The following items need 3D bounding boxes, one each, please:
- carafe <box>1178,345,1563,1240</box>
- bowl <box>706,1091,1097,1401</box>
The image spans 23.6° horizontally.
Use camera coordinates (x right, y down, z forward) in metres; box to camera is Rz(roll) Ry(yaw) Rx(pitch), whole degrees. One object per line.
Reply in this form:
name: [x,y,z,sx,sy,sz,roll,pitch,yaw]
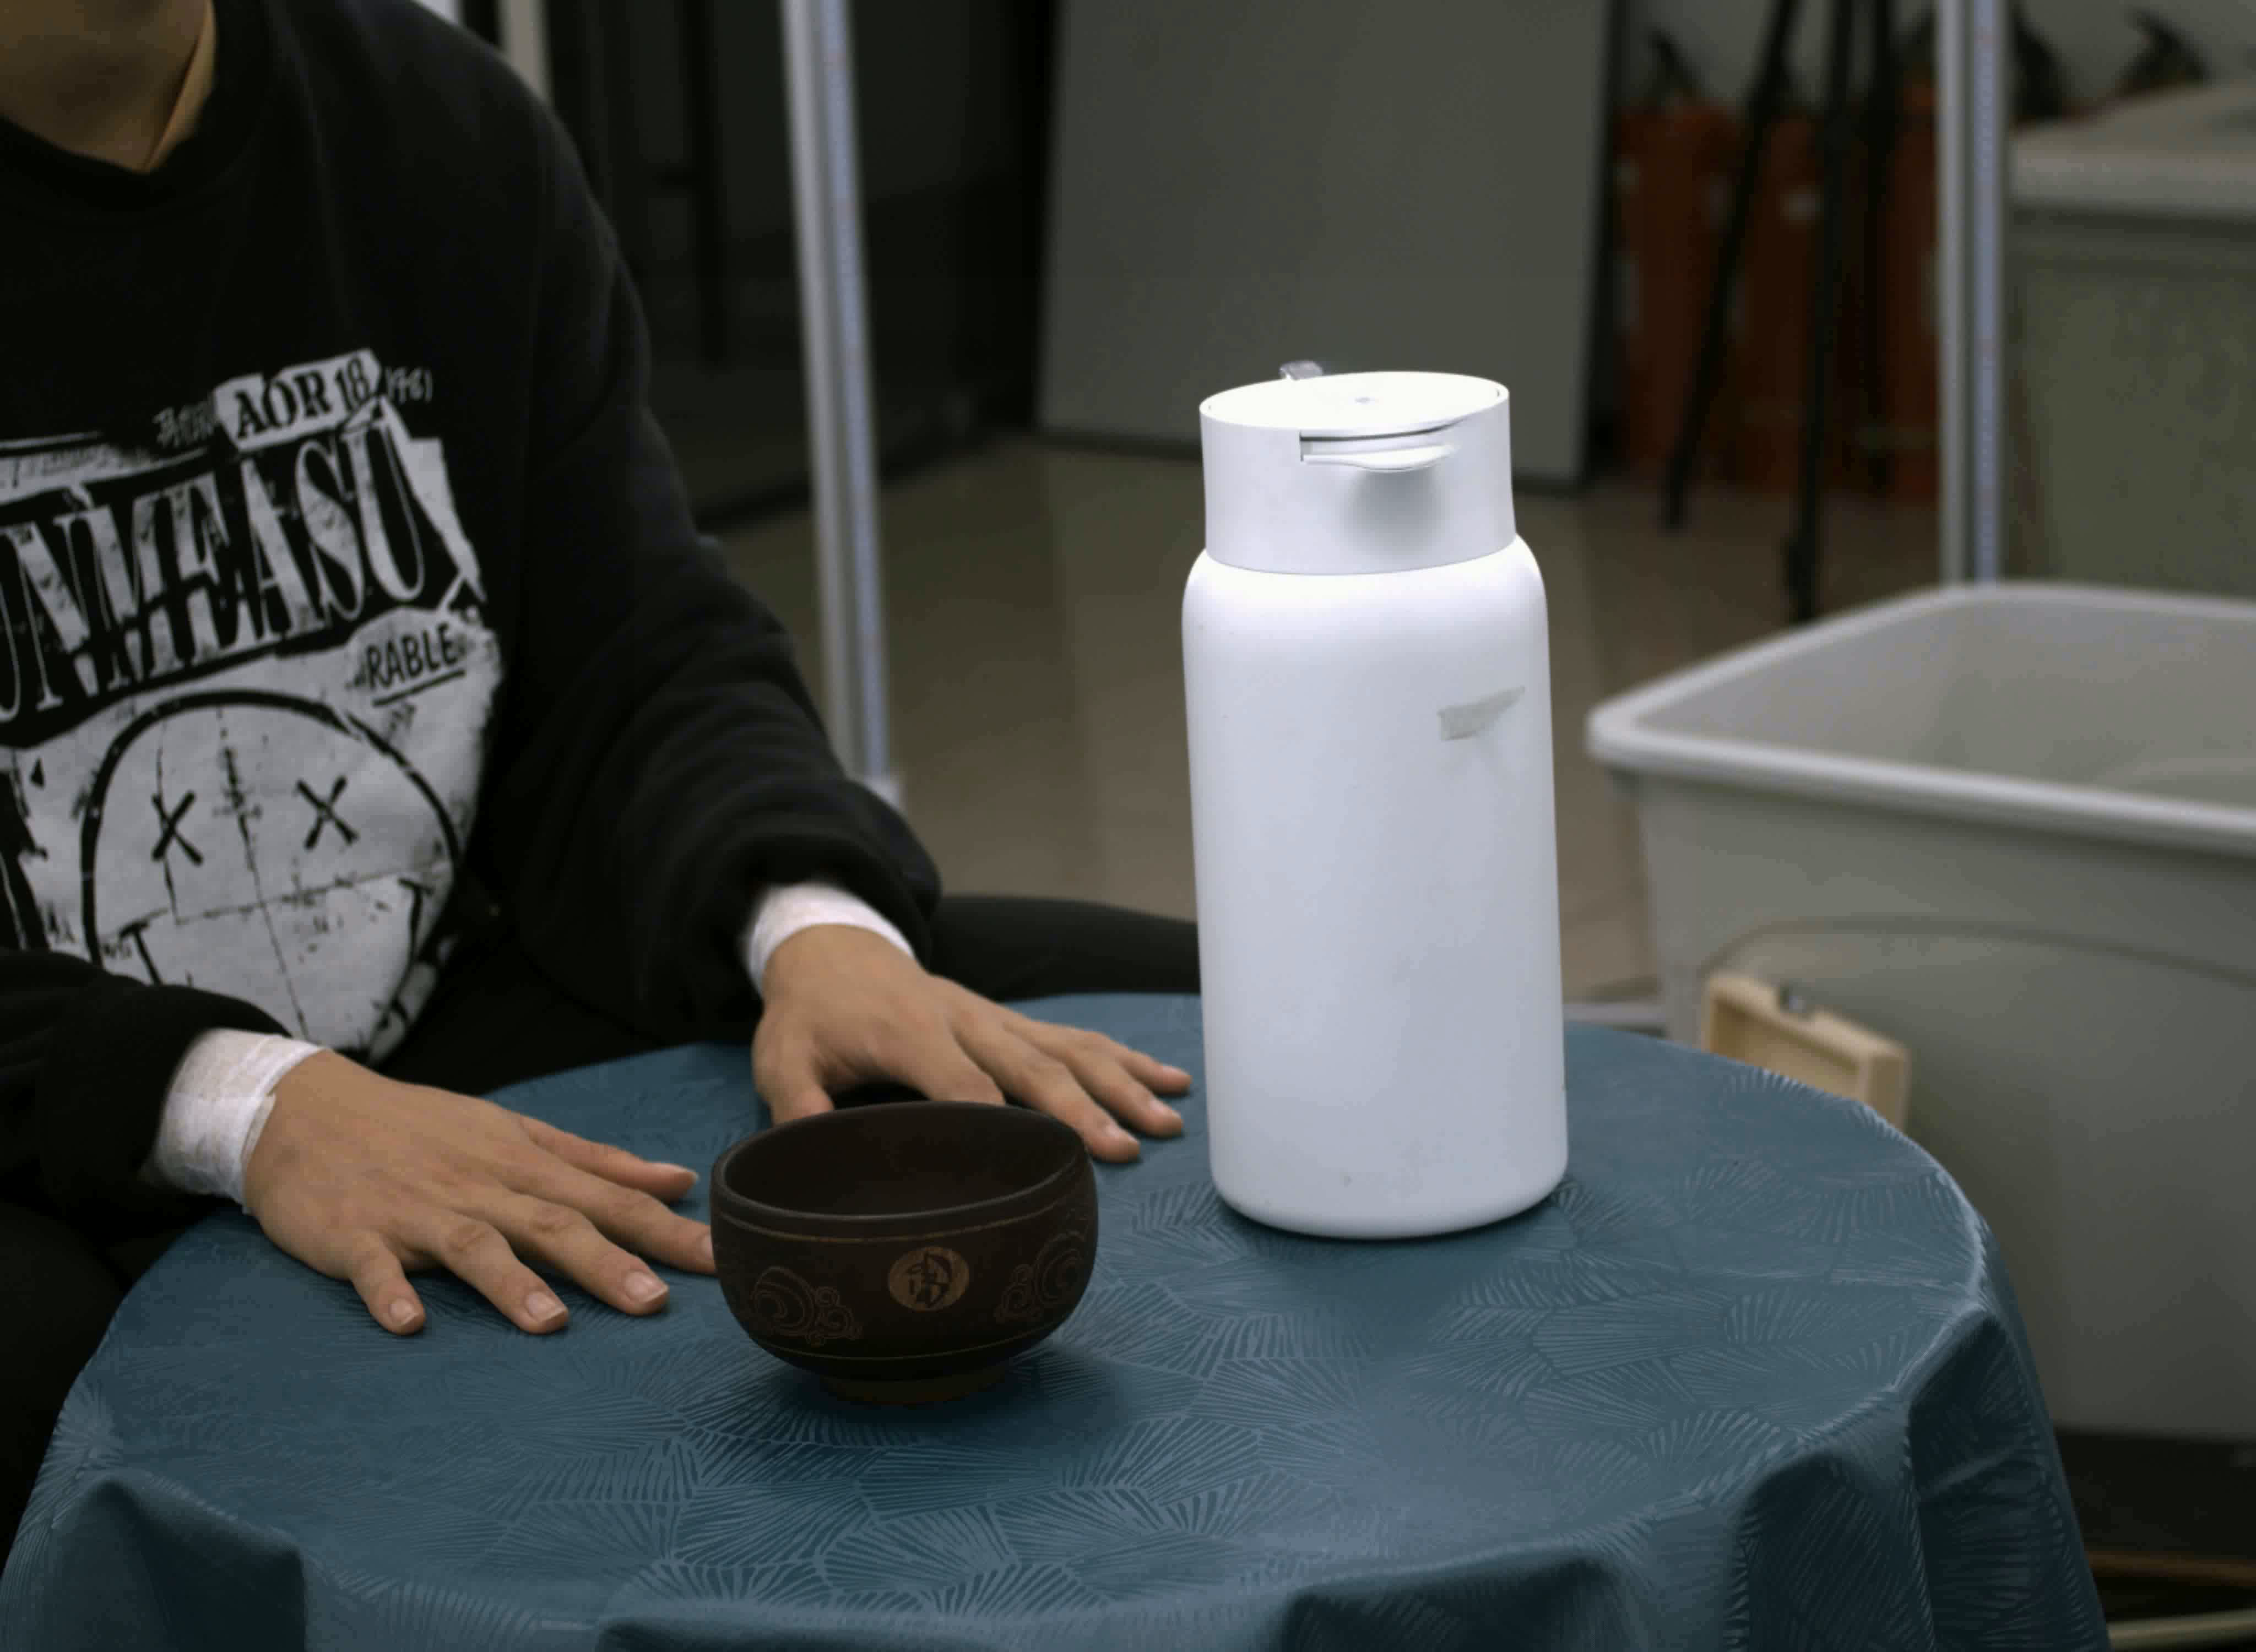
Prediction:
carafe: [0.072,-0.014,1.740,0.122,0.272,0.174,-8,14,-10]
bowl: [-0.066,0.129,1.609,0.116,0.070,0.118,-5,13,0]
